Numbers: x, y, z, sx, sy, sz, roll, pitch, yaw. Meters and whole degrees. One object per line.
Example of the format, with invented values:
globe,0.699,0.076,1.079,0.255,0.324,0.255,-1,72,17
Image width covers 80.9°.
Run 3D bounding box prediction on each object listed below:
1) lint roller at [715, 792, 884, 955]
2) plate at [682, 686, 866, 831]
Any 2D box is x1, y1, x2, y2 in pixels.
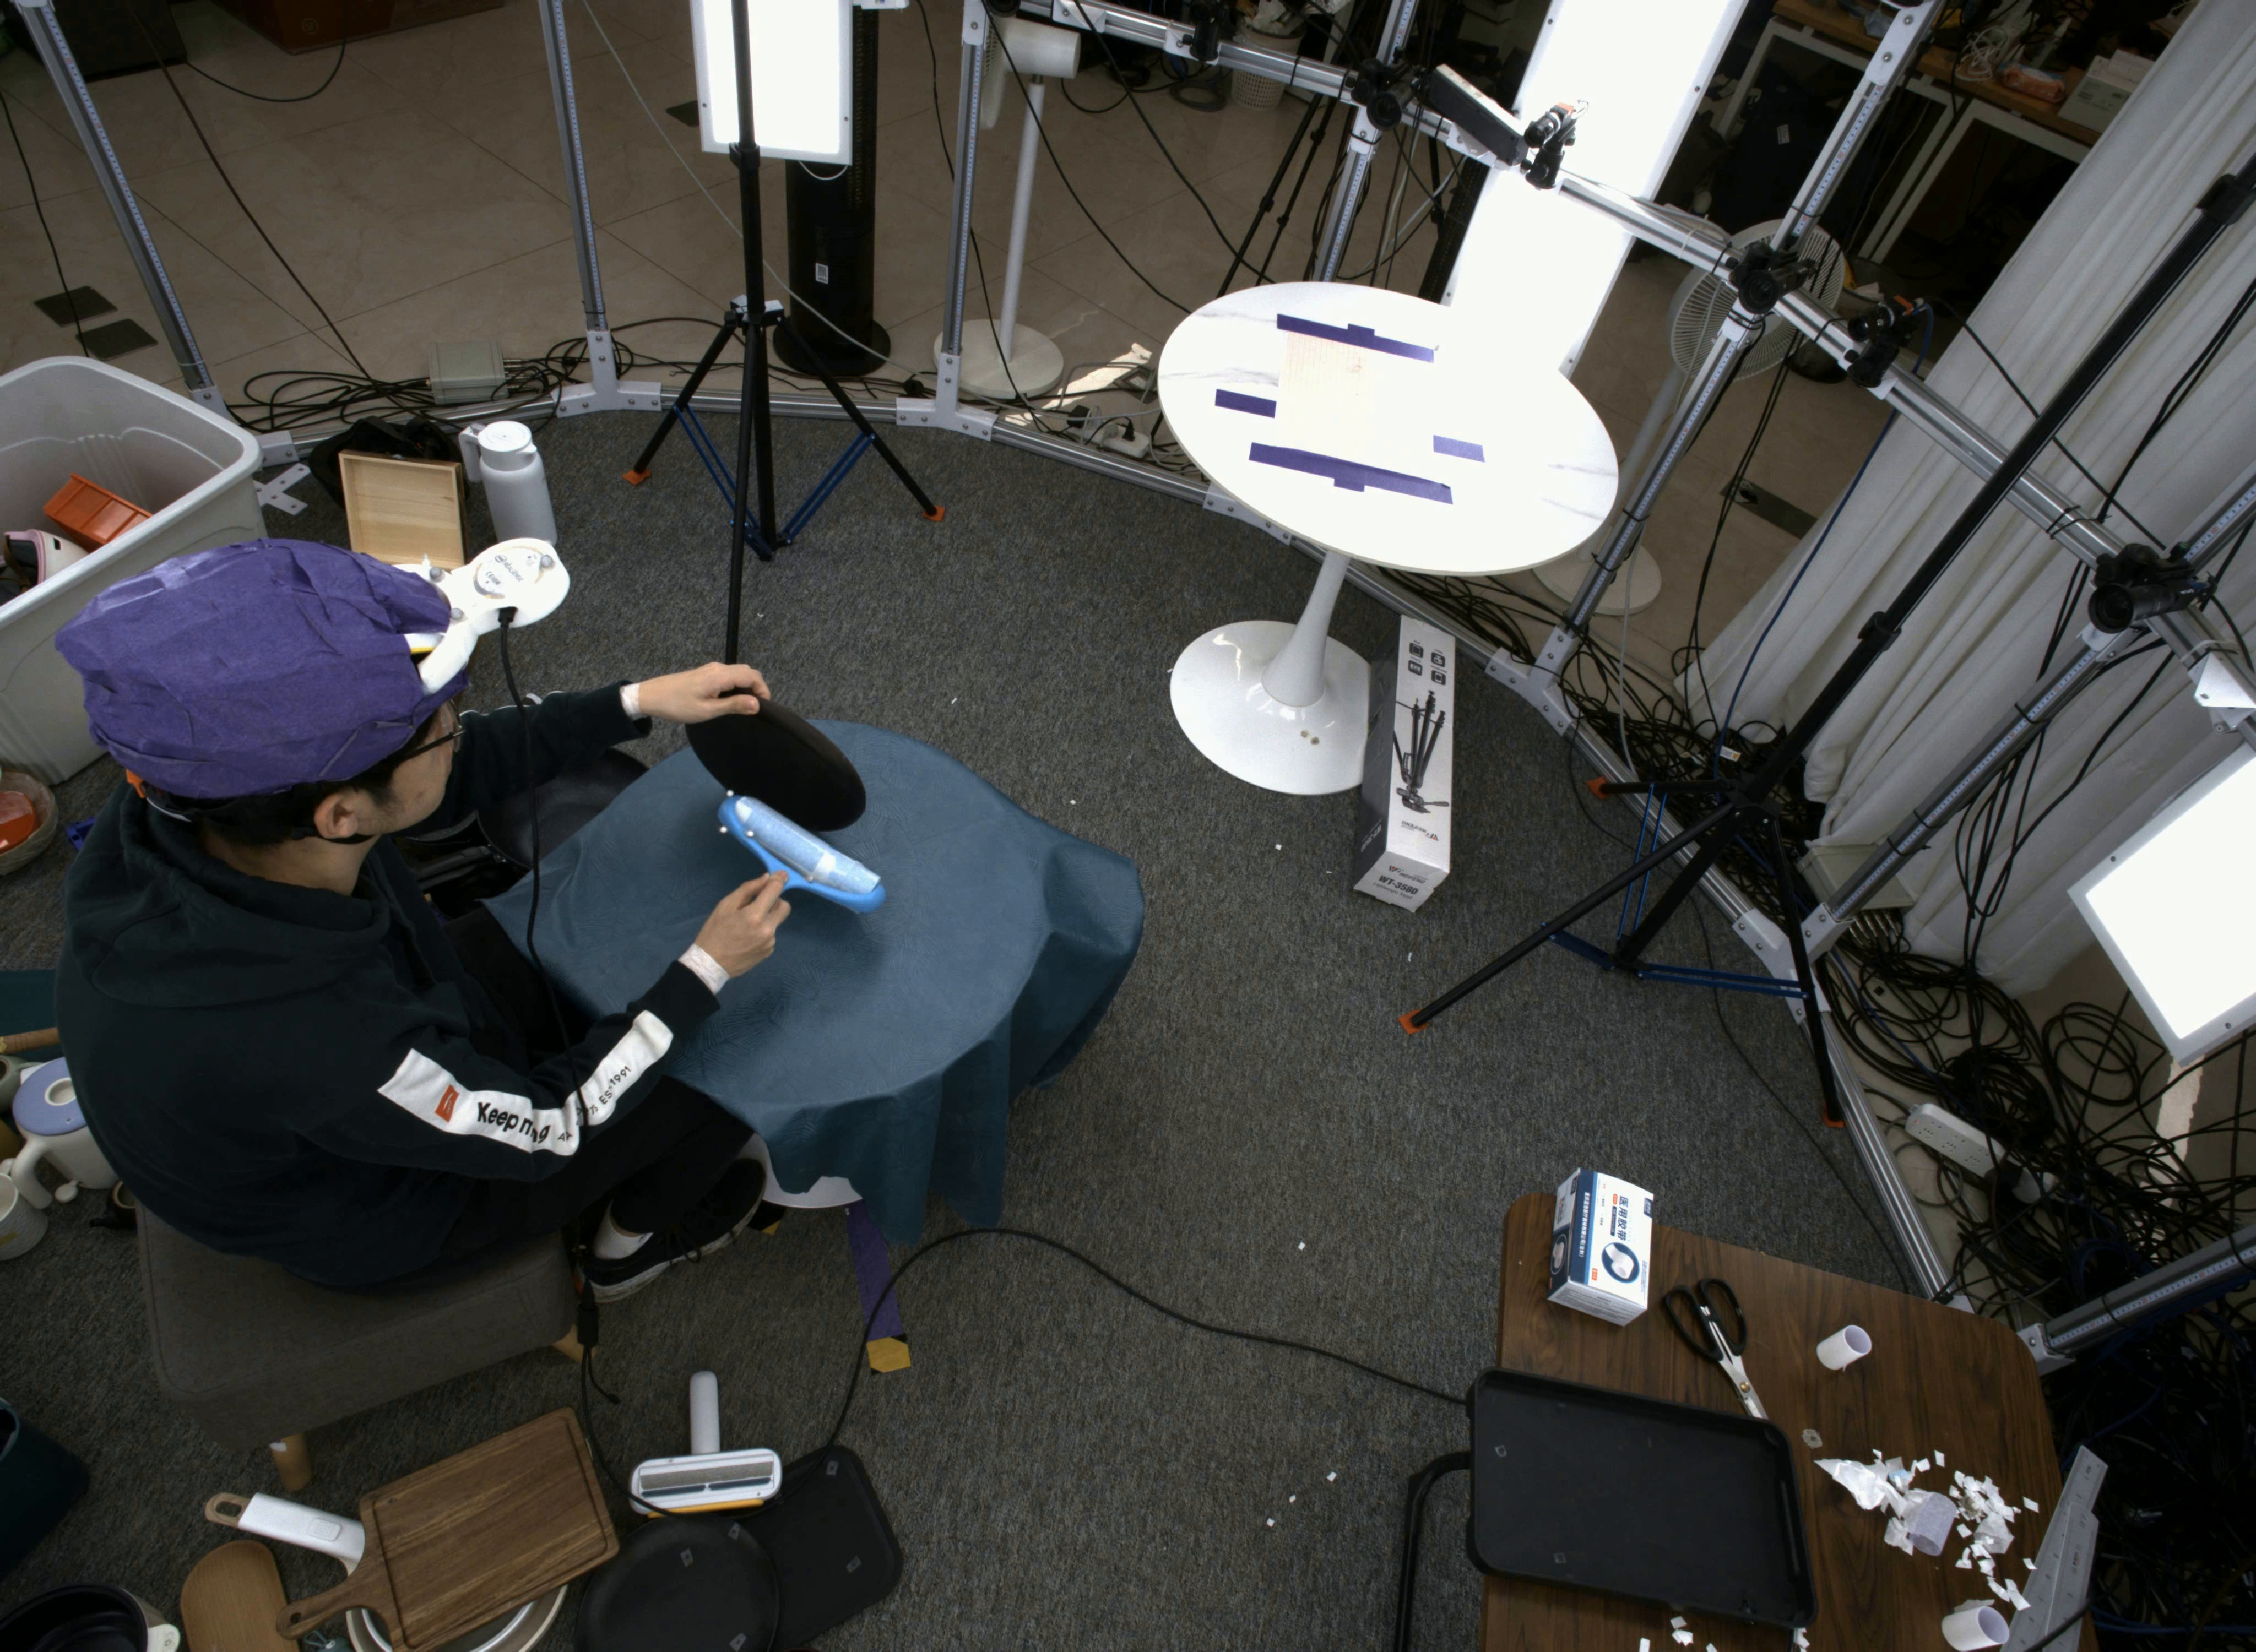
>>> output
lint roller,-0.419,0.072,1.553,0.231,0.068,0.178,32,49,-12
plate,-0.447,-0.079,1.621,0.252,0.260,0.029,20,56,3
